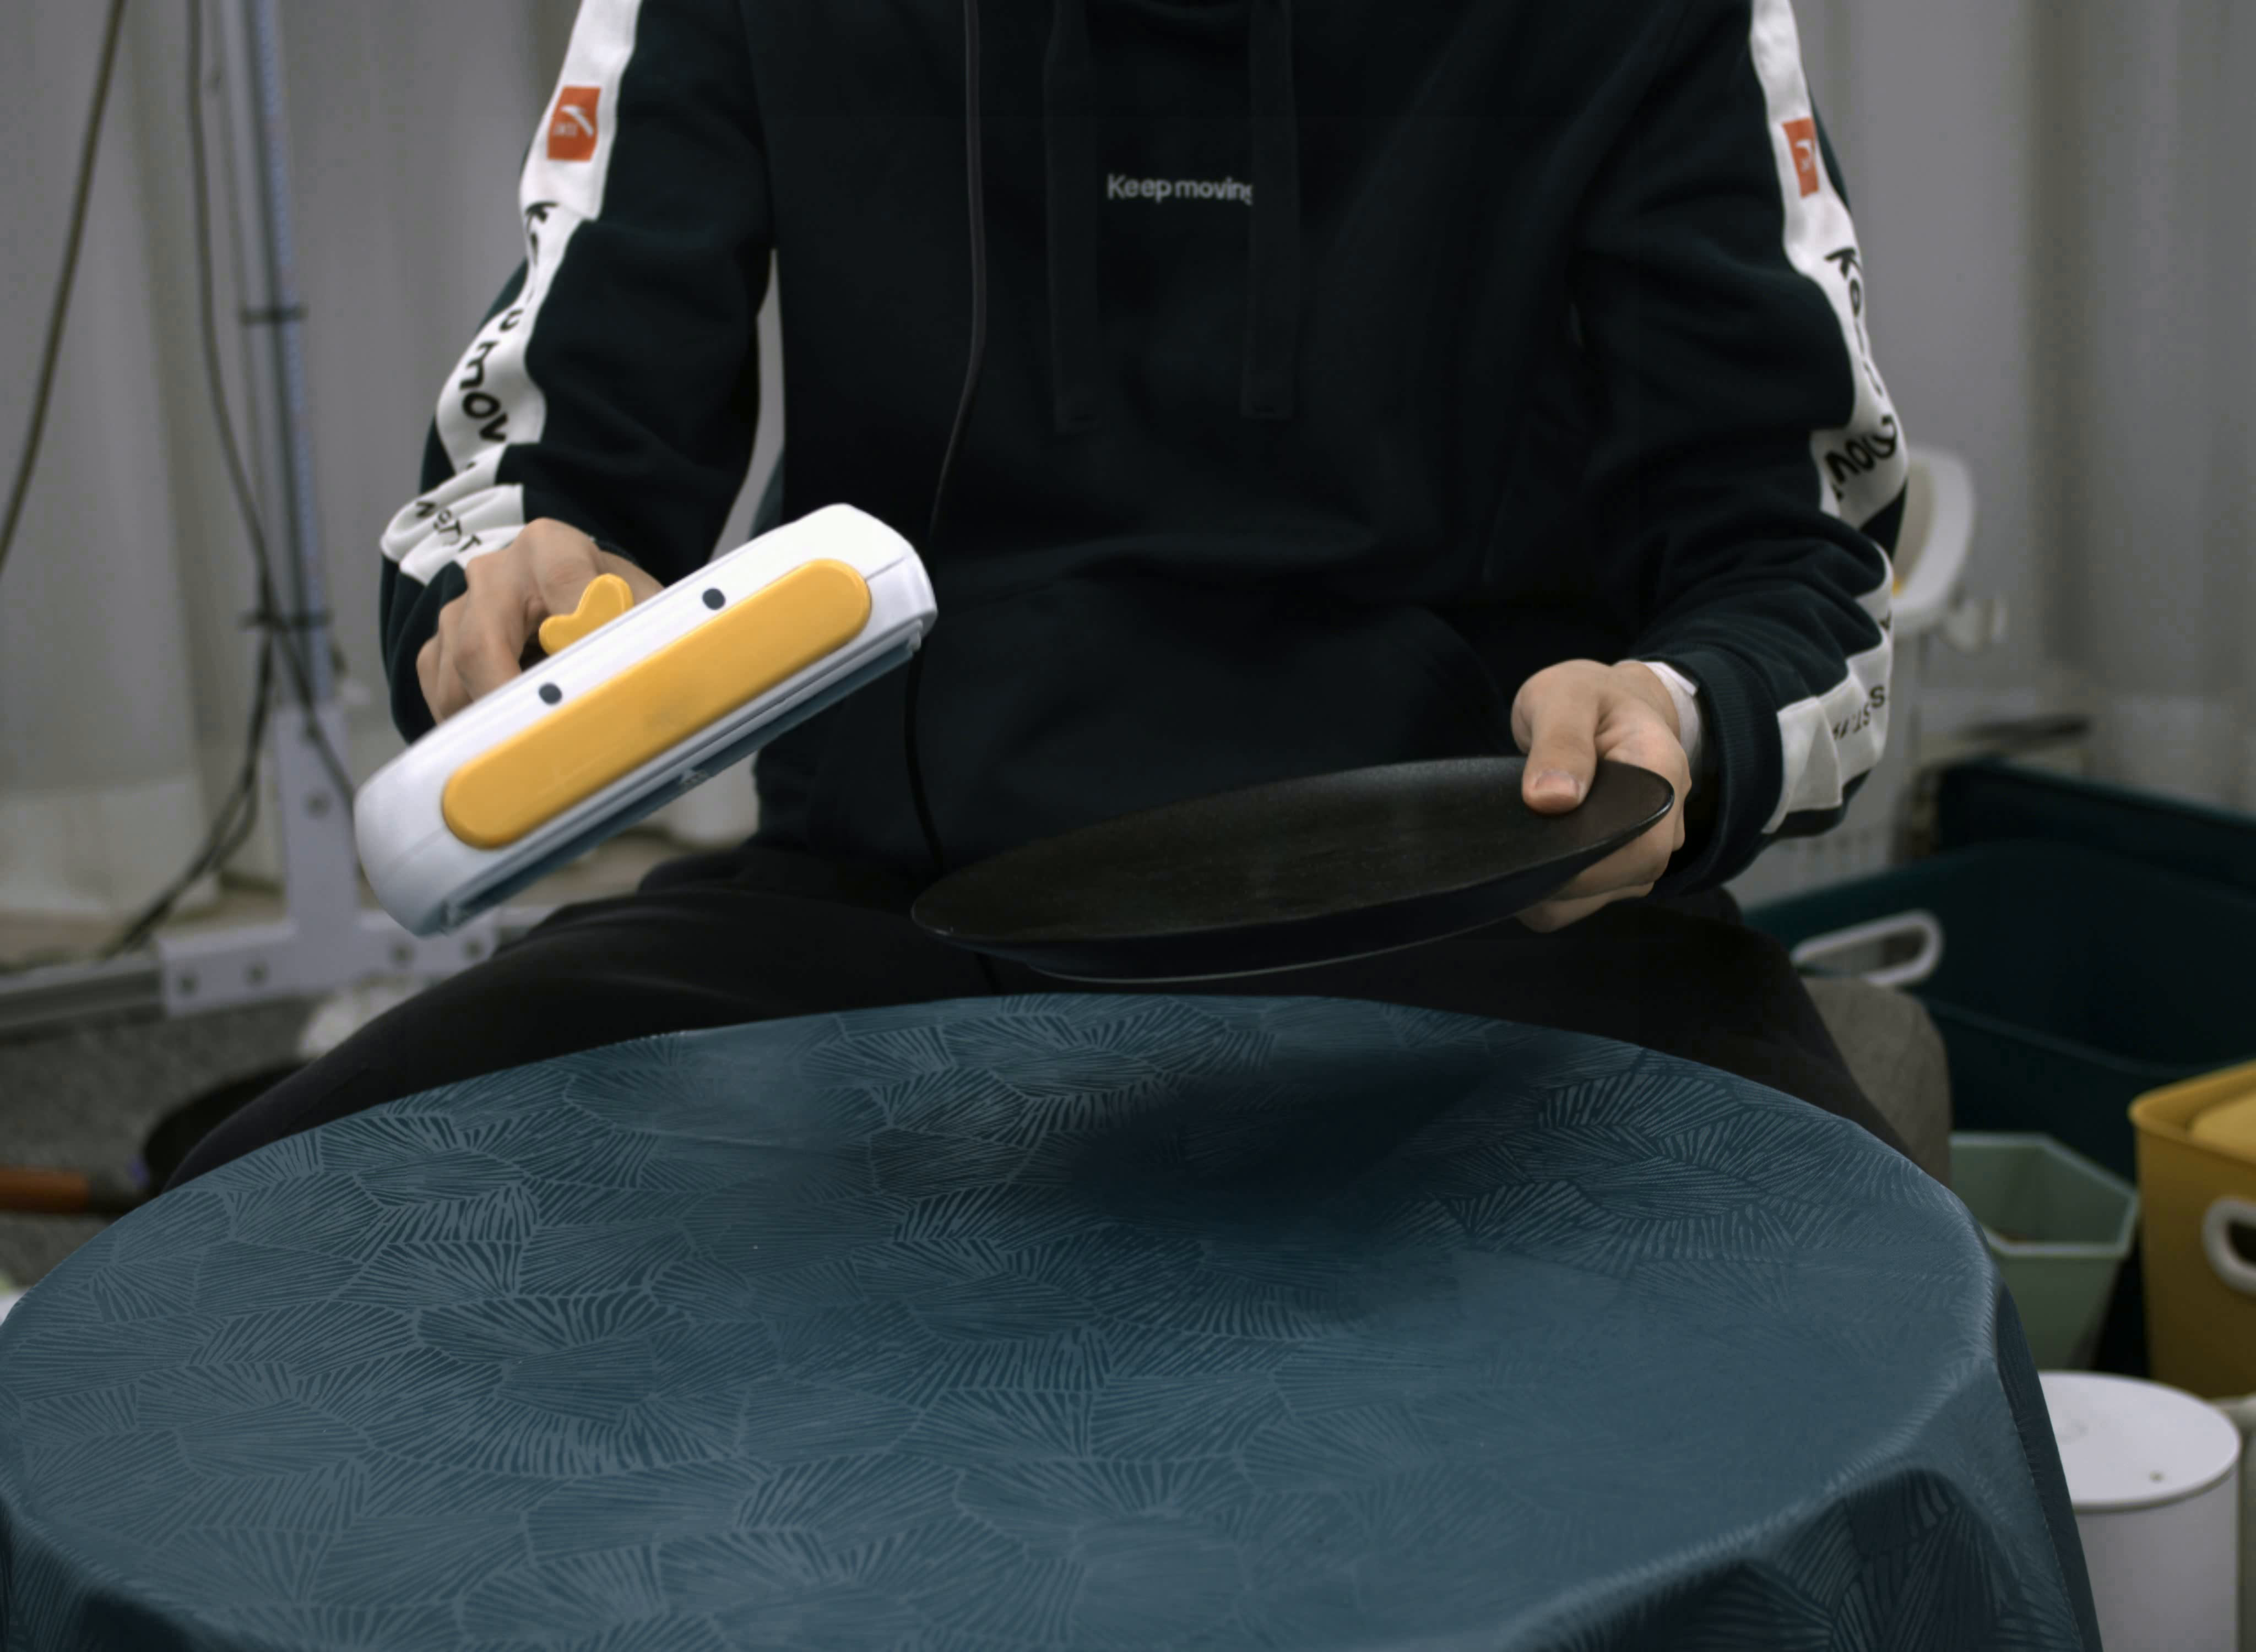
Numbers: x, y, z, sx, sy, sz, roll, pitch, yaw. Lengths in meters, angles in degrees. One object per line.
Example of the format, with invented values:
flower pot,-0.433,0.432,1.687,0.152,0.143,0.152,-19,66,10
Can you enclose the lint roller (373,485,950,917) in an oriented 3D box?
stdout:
lint roller,-0.161,-0.035,1.707,0.193,0.074,0.192,-35,3,-19

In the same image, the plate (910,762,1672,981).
plate,0.053,0.016,1.727,0.243,0.023,0.245,-9,9,1
